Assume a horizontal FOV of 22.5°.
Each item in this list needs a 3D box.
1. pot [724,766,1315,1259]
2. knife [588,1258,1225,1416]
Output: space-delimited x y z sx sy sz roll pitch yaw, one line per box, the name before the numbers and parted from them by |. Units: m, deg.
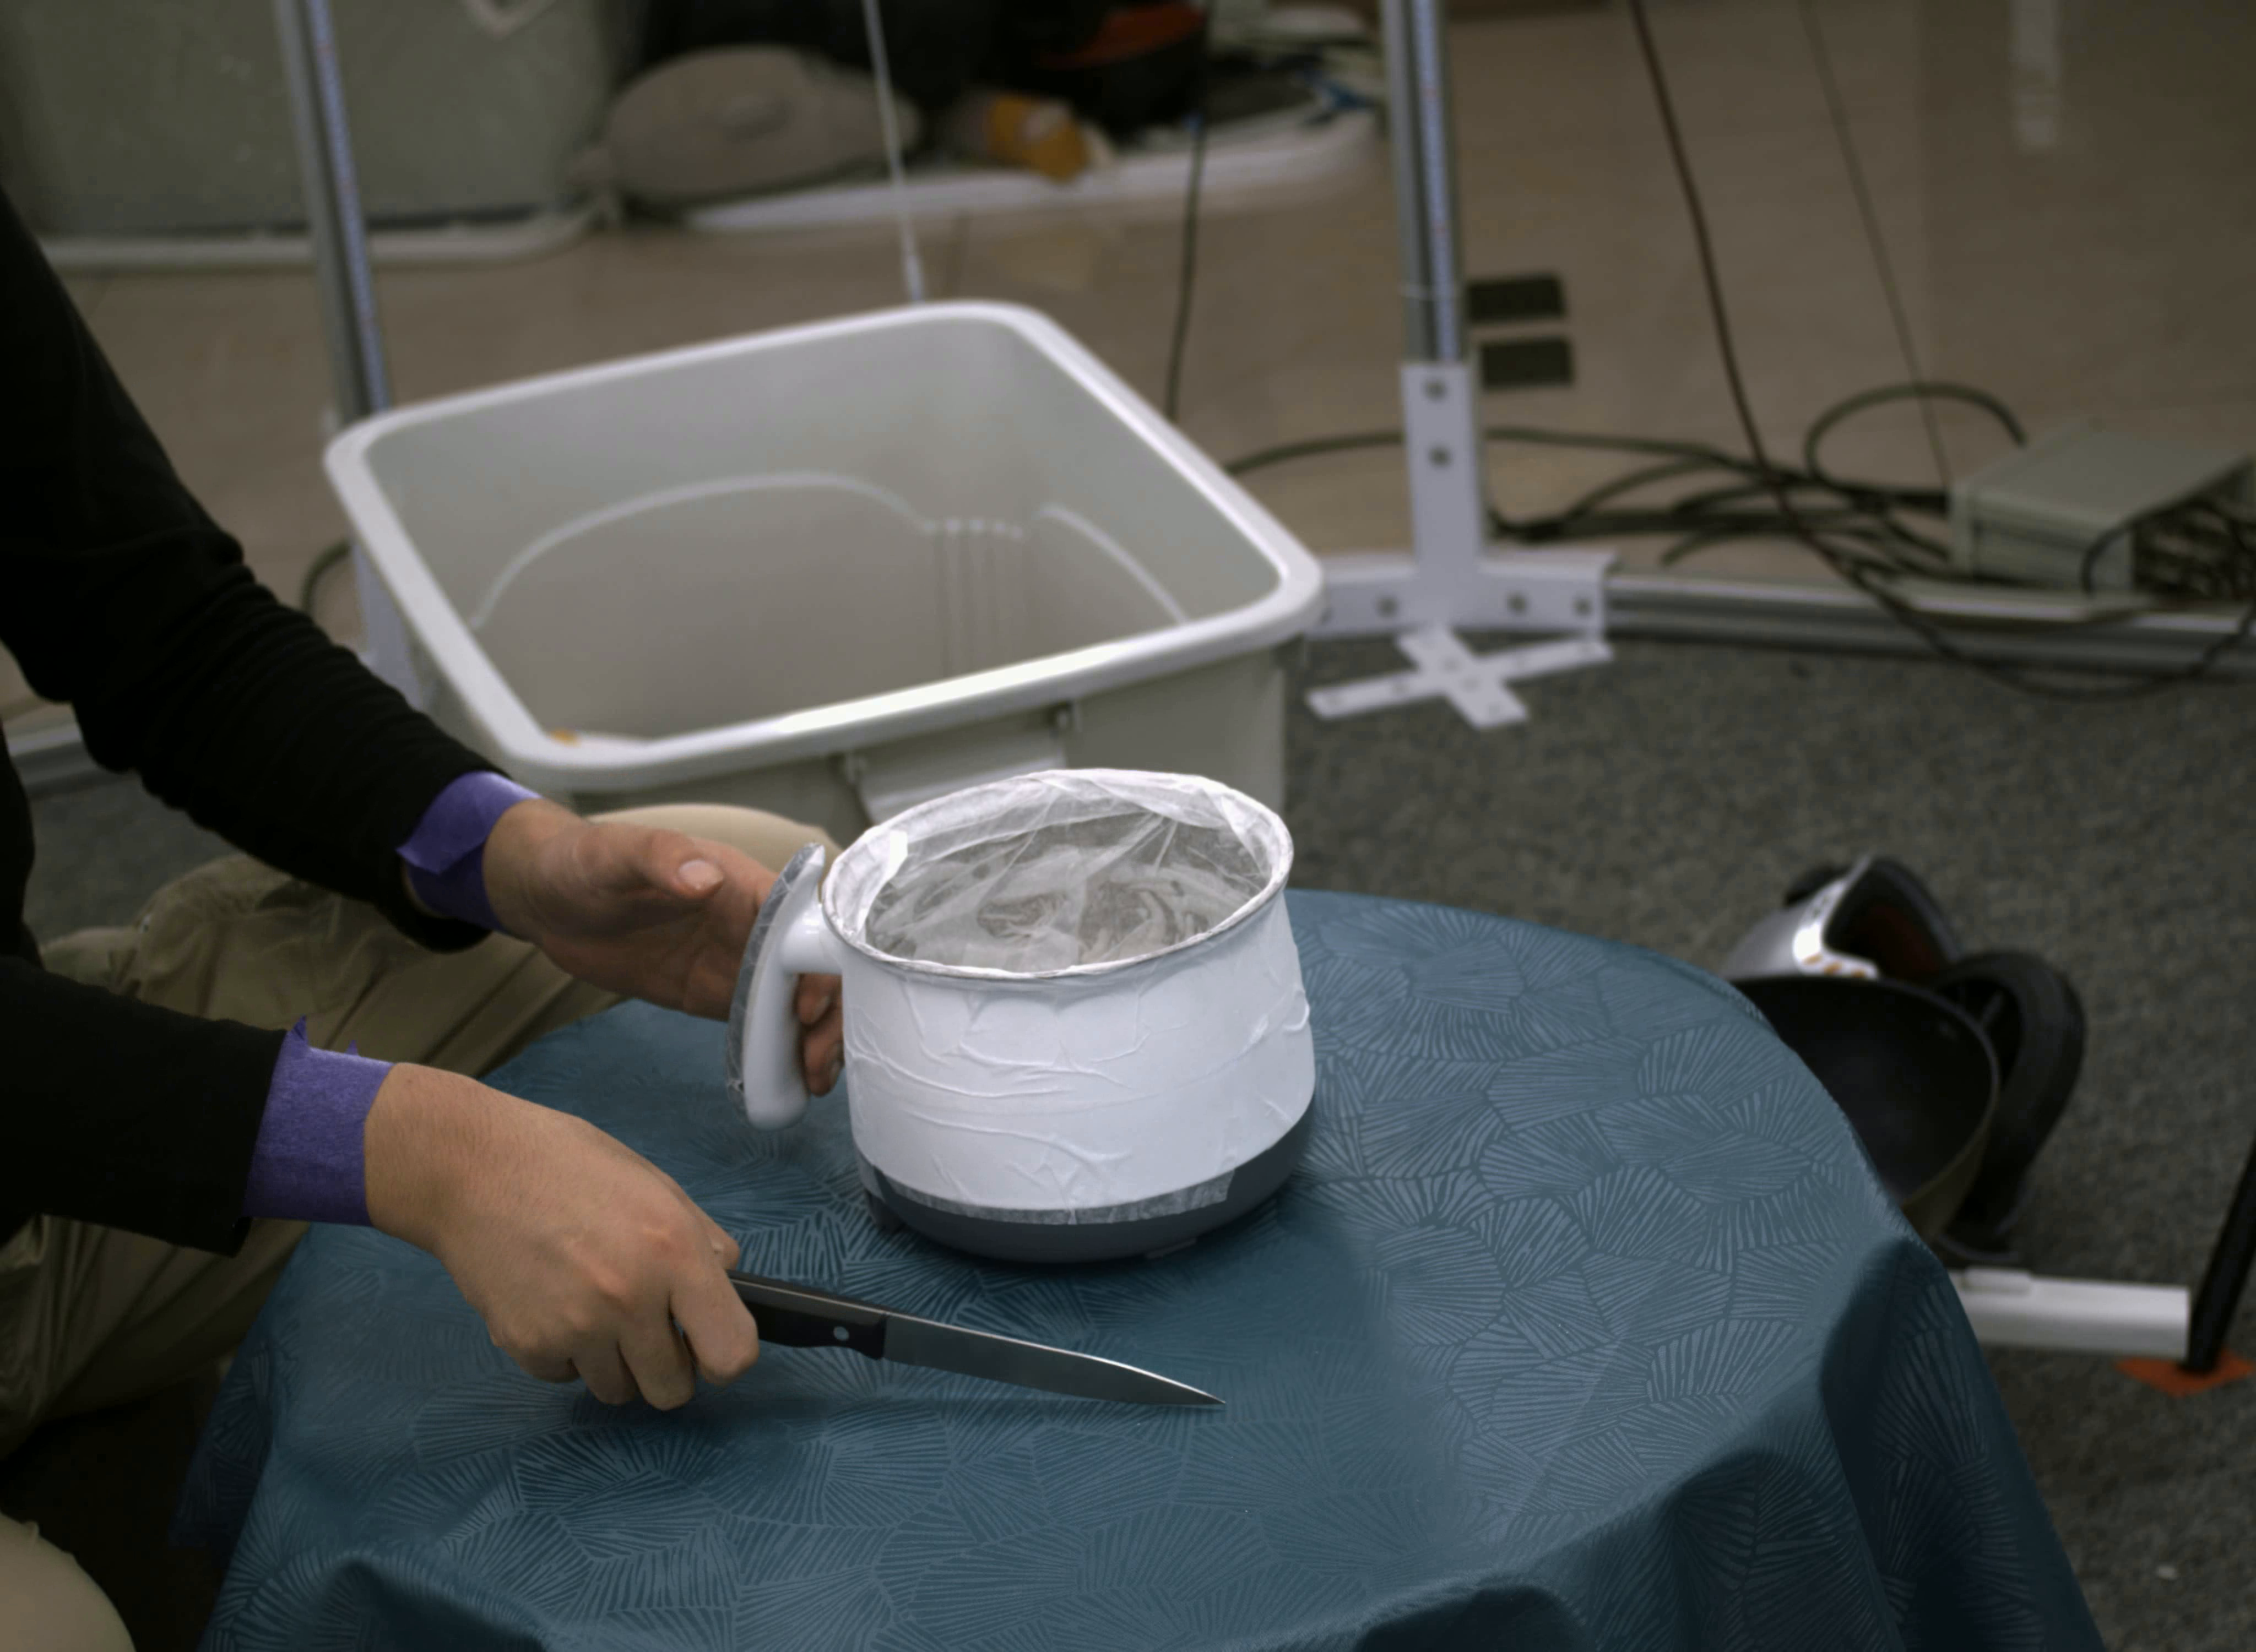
pot | -0.046 0.070 2.139 0.233 0.139 0.176 4 26 18
knife | -0.080 0.183 2.020 0.237 0.025 0.016 10 45 11
